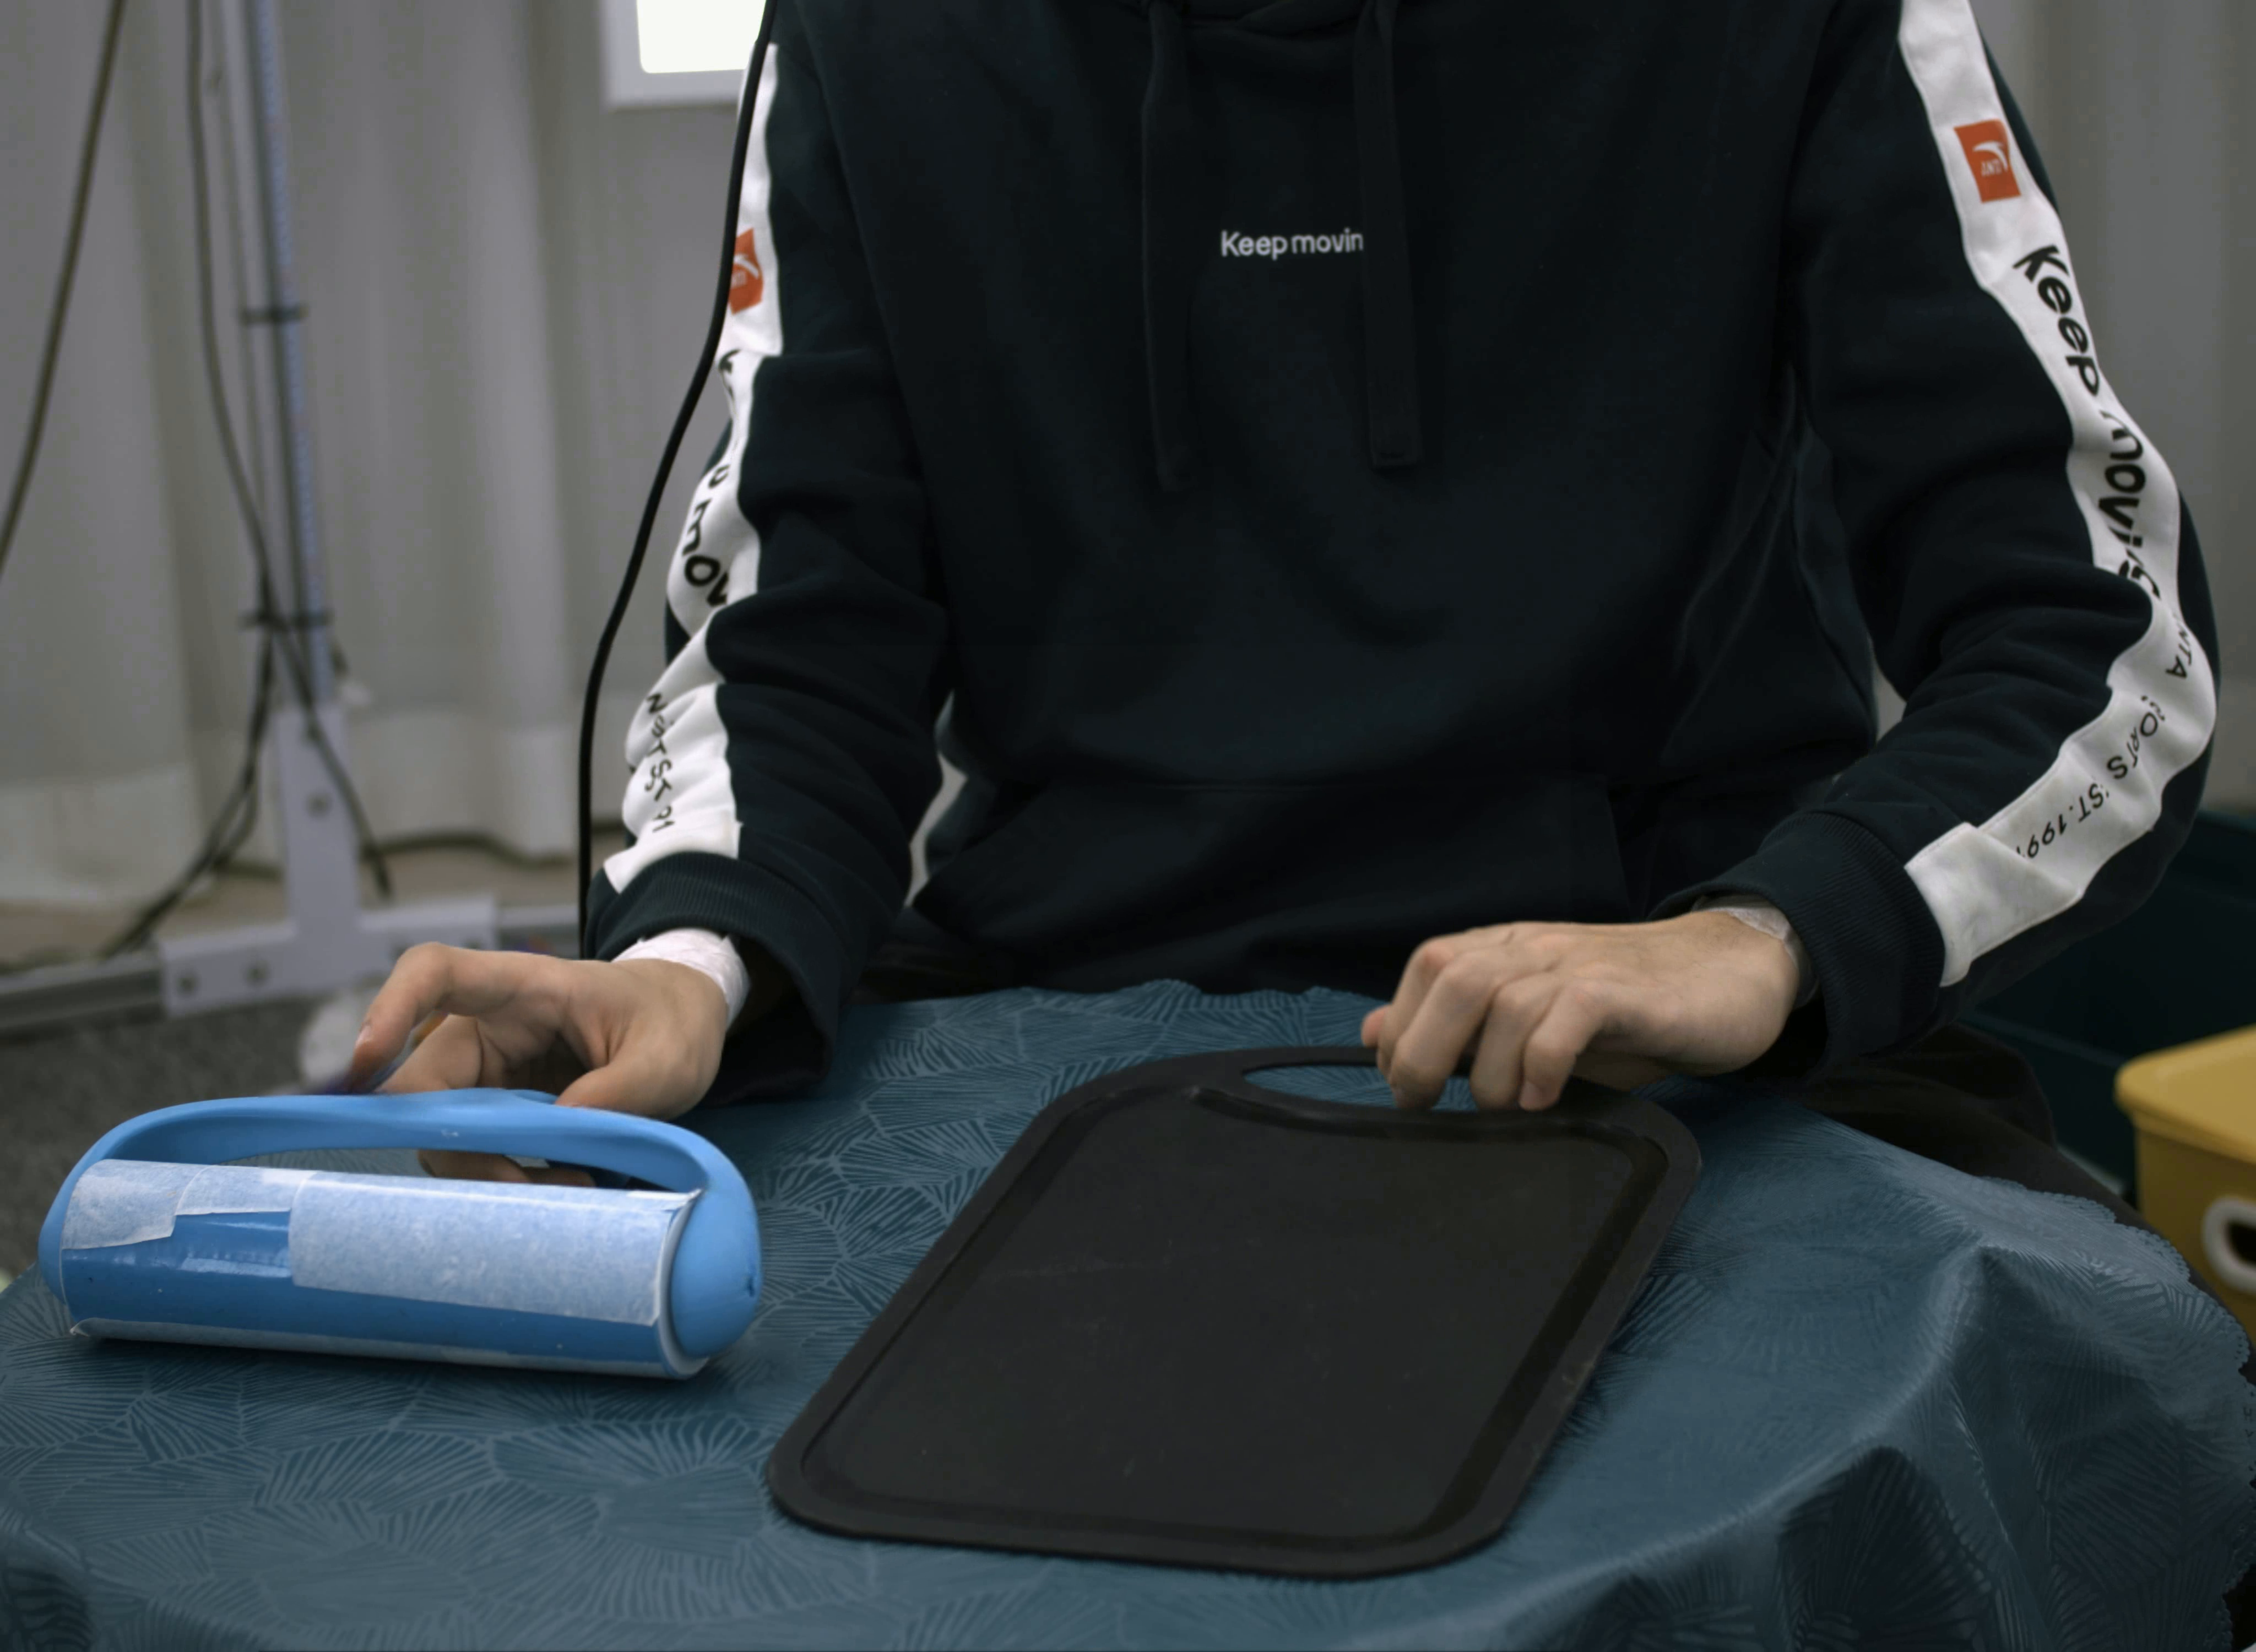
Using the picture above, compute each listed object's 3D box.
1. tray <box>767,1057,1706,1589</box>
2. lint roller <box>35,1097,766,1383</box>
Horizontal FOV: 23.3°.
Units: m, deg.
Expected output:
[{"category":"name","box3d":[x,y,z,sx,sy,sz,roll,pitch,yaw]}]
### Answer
[{"category":"tray","box3d":[0.039,0.132,1.567,0.211,0.010,0.327,4,22,19]},{"category":"lint roller","box3d":[-0.198,0.113,1.653,0.229,0.067,0.181,-1,16,17]}]
